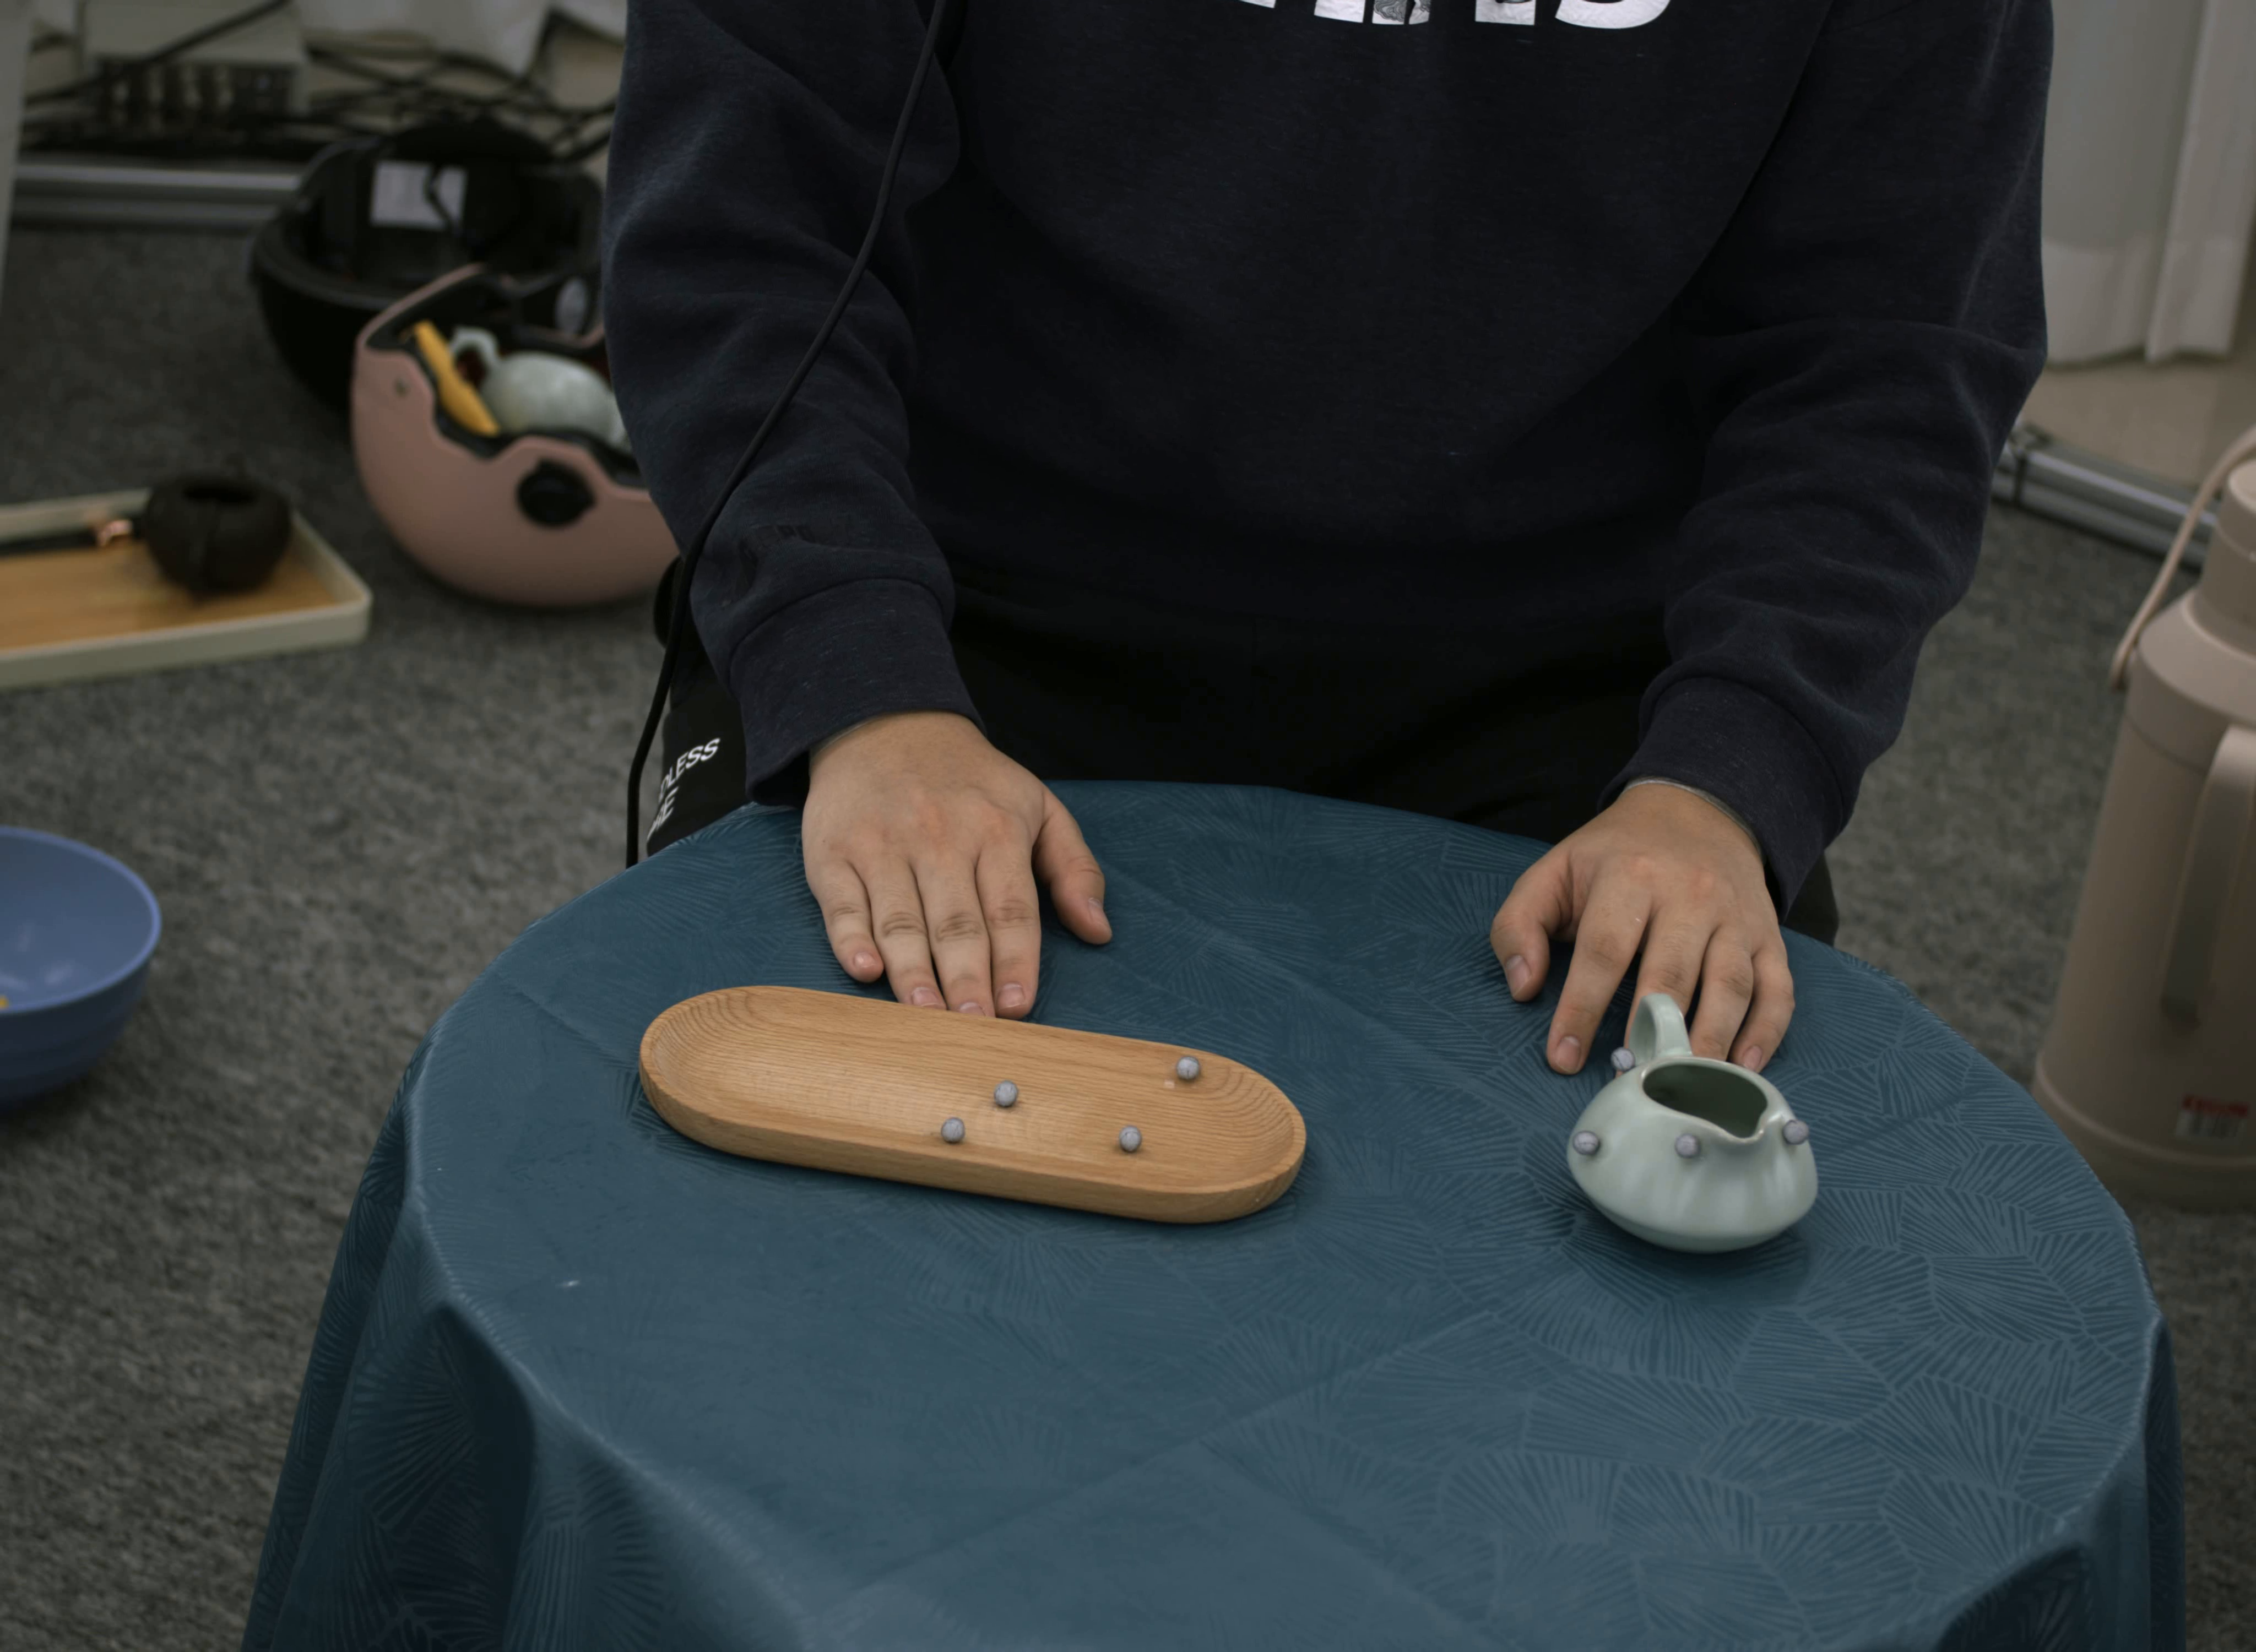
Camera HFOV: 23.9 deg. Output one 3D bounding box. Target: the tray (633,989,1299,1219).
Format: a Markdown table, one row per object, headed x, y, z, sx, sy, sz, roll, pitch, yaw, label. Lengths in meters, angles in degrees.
| x | y | z | sx | sy | sz | roll | pitch | yaw | label |
| --- | --- | --- | --- | --- | --- | --- | --- | --- | --- |
| -0.056 | 0.096 | 1.831 | 0.231 | 0.020 | 0.102 | 7 | 25 | 4 | tray |

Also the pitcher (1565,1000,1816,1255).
| x | y | z | sx | sy | sz | roll | pitch | yaw | label |
| --- | --- | --- | --- | --- | --- | --- | --- | --- | --- |
| 0.190 | 0.105 | 1.827 | 0.085 | 0.060 | 0.109 | 0 | 25 | -16 | pitcher |
